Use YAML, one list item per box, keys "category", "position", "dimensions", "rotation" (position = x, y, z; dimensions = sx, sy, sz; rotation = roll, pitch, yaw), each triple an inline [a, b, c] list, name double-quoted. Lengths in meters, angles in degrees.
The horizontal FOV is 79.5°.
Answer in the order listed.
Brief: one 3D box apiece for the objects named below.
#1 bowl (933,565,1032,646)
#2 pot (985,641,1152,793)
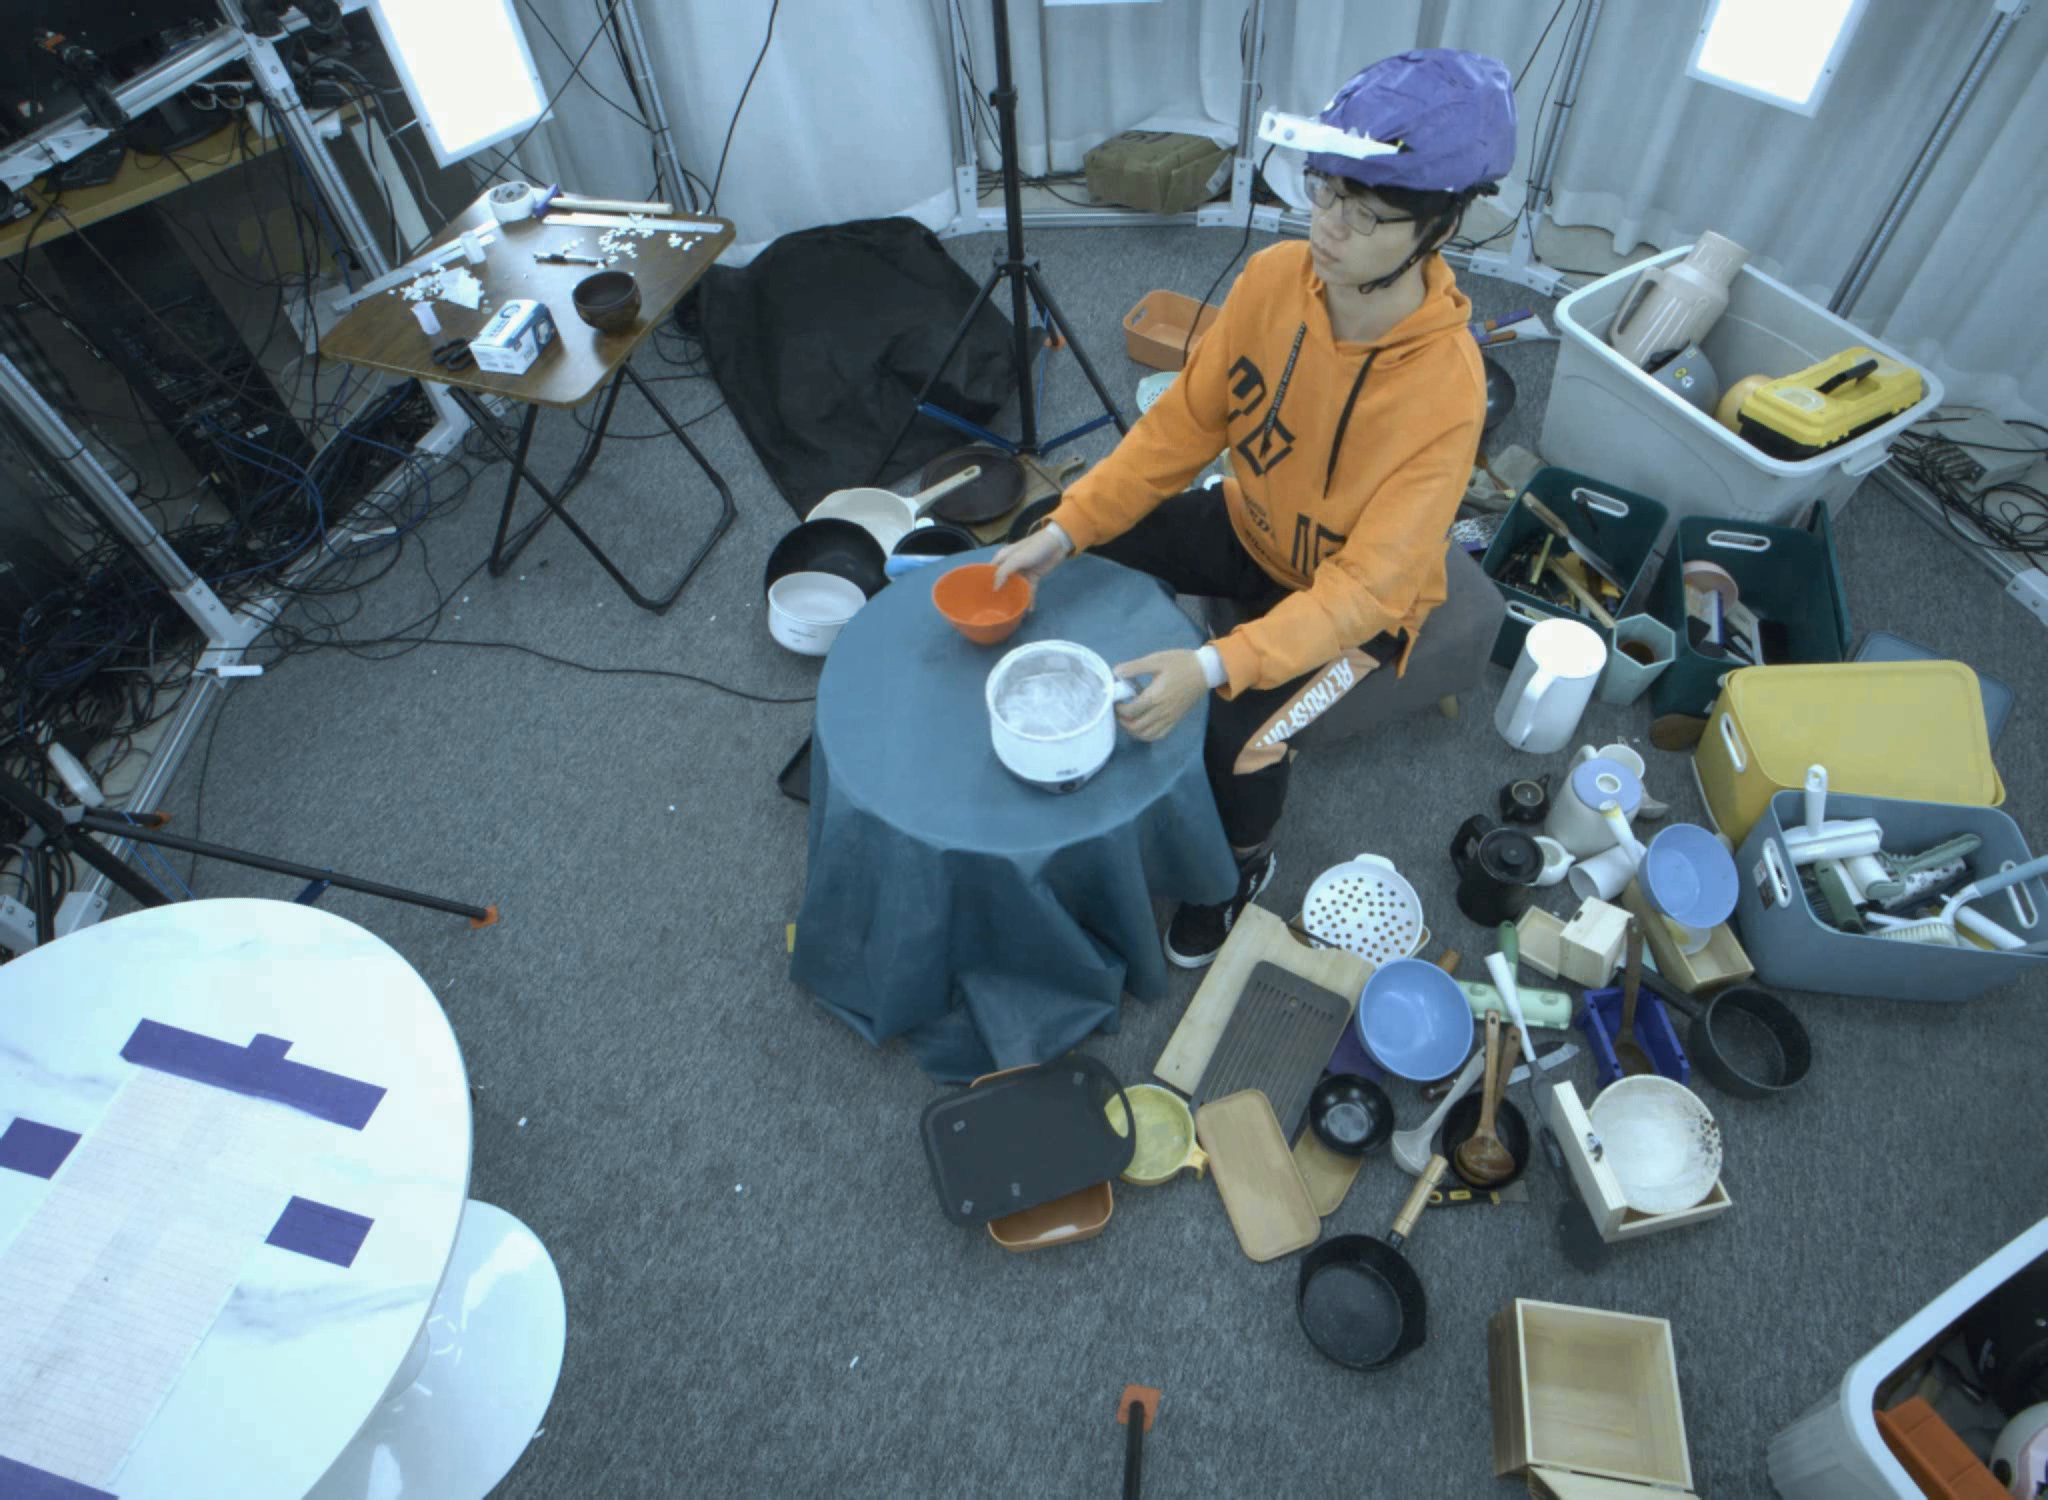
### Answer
- category: "bowl"
  position: [-0.061, -0.210, 1.879]
  dimensions: [0.148, 0.106, 0.146]
  rotation: [-1, 54, 2]
- category: "pot"
  position: [0.066, -0.052, 1.737]
  dimensions: [0.235, 0.138, 0.176]
  rotation: [-13, 56, -6]
